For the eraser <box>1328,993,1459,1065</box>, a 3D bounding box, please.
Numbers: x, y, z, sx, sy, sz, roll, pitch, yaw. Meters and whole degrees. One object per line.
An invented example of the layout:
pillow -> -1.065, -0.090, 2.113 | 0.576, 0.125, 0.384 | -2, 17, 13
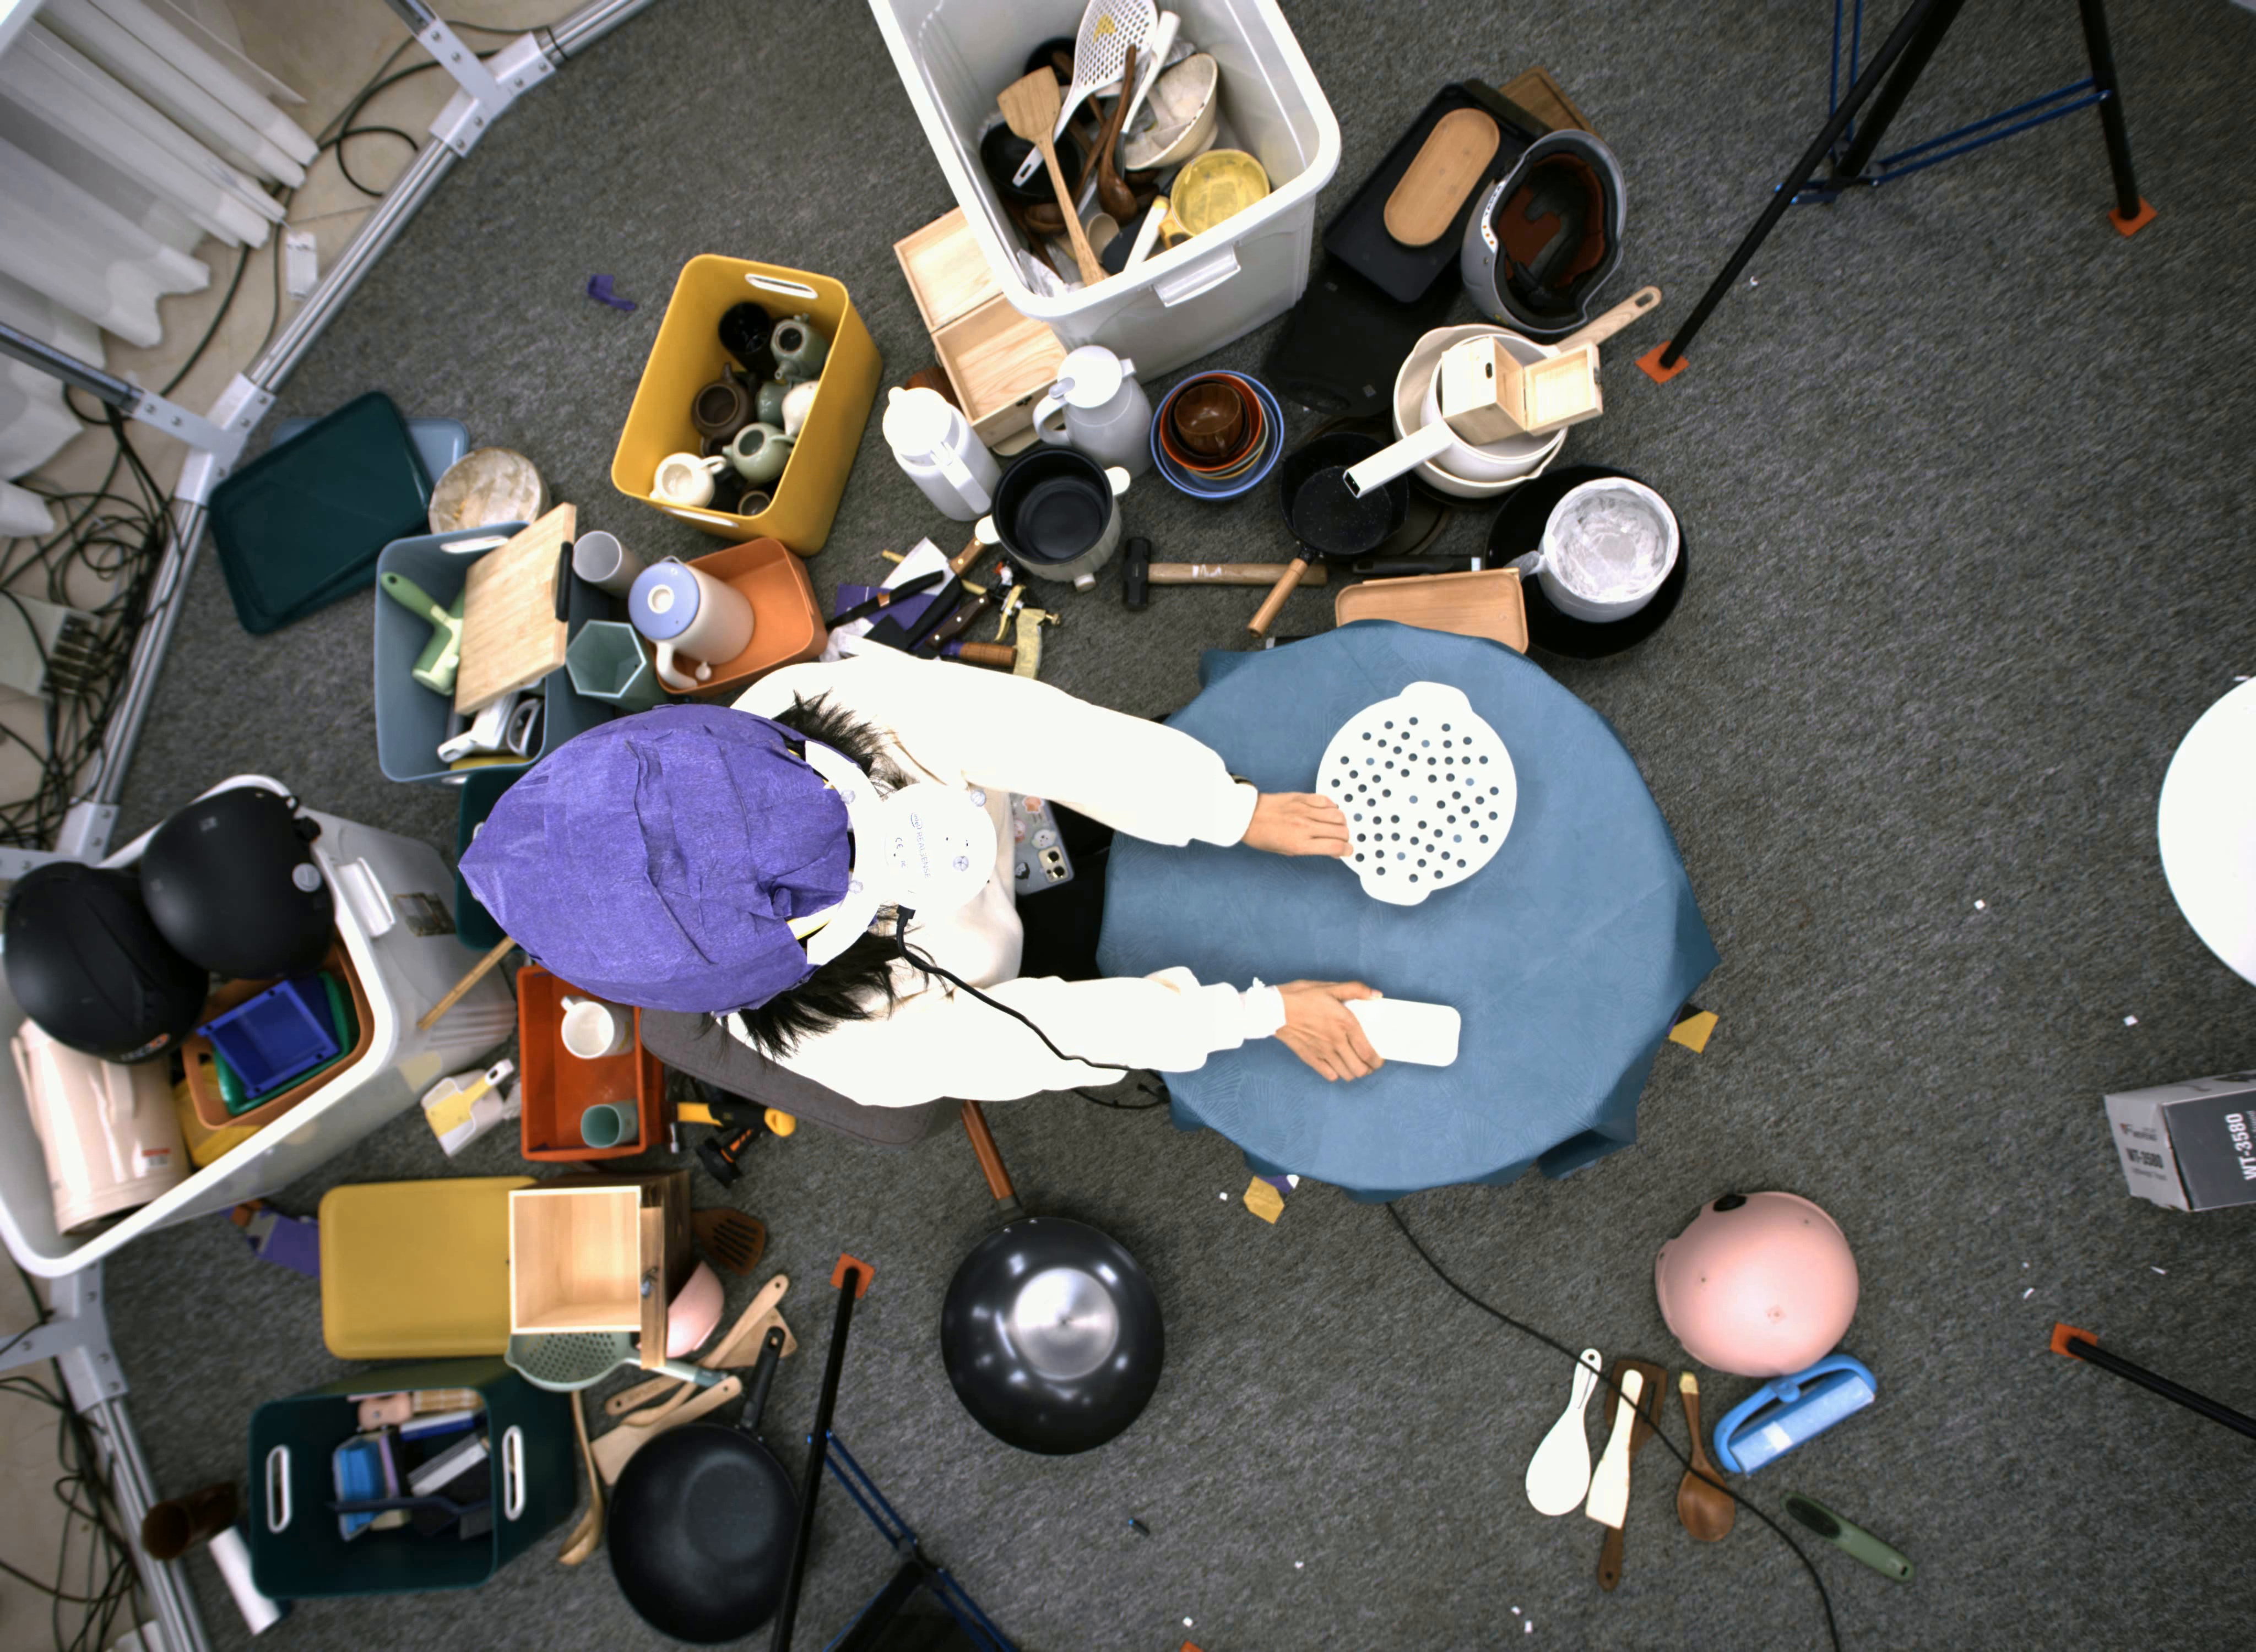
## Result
eraser -> 0.275, 0.207, 1.434 | 0.131, 0.034, 0.063 | 7, 86, 9

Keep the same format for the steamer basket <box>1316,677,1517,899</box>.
steamer basket -> 0.298, -0.038, 1.427 | 0.202, 0.069, 0.229 | 12, 87, 11
